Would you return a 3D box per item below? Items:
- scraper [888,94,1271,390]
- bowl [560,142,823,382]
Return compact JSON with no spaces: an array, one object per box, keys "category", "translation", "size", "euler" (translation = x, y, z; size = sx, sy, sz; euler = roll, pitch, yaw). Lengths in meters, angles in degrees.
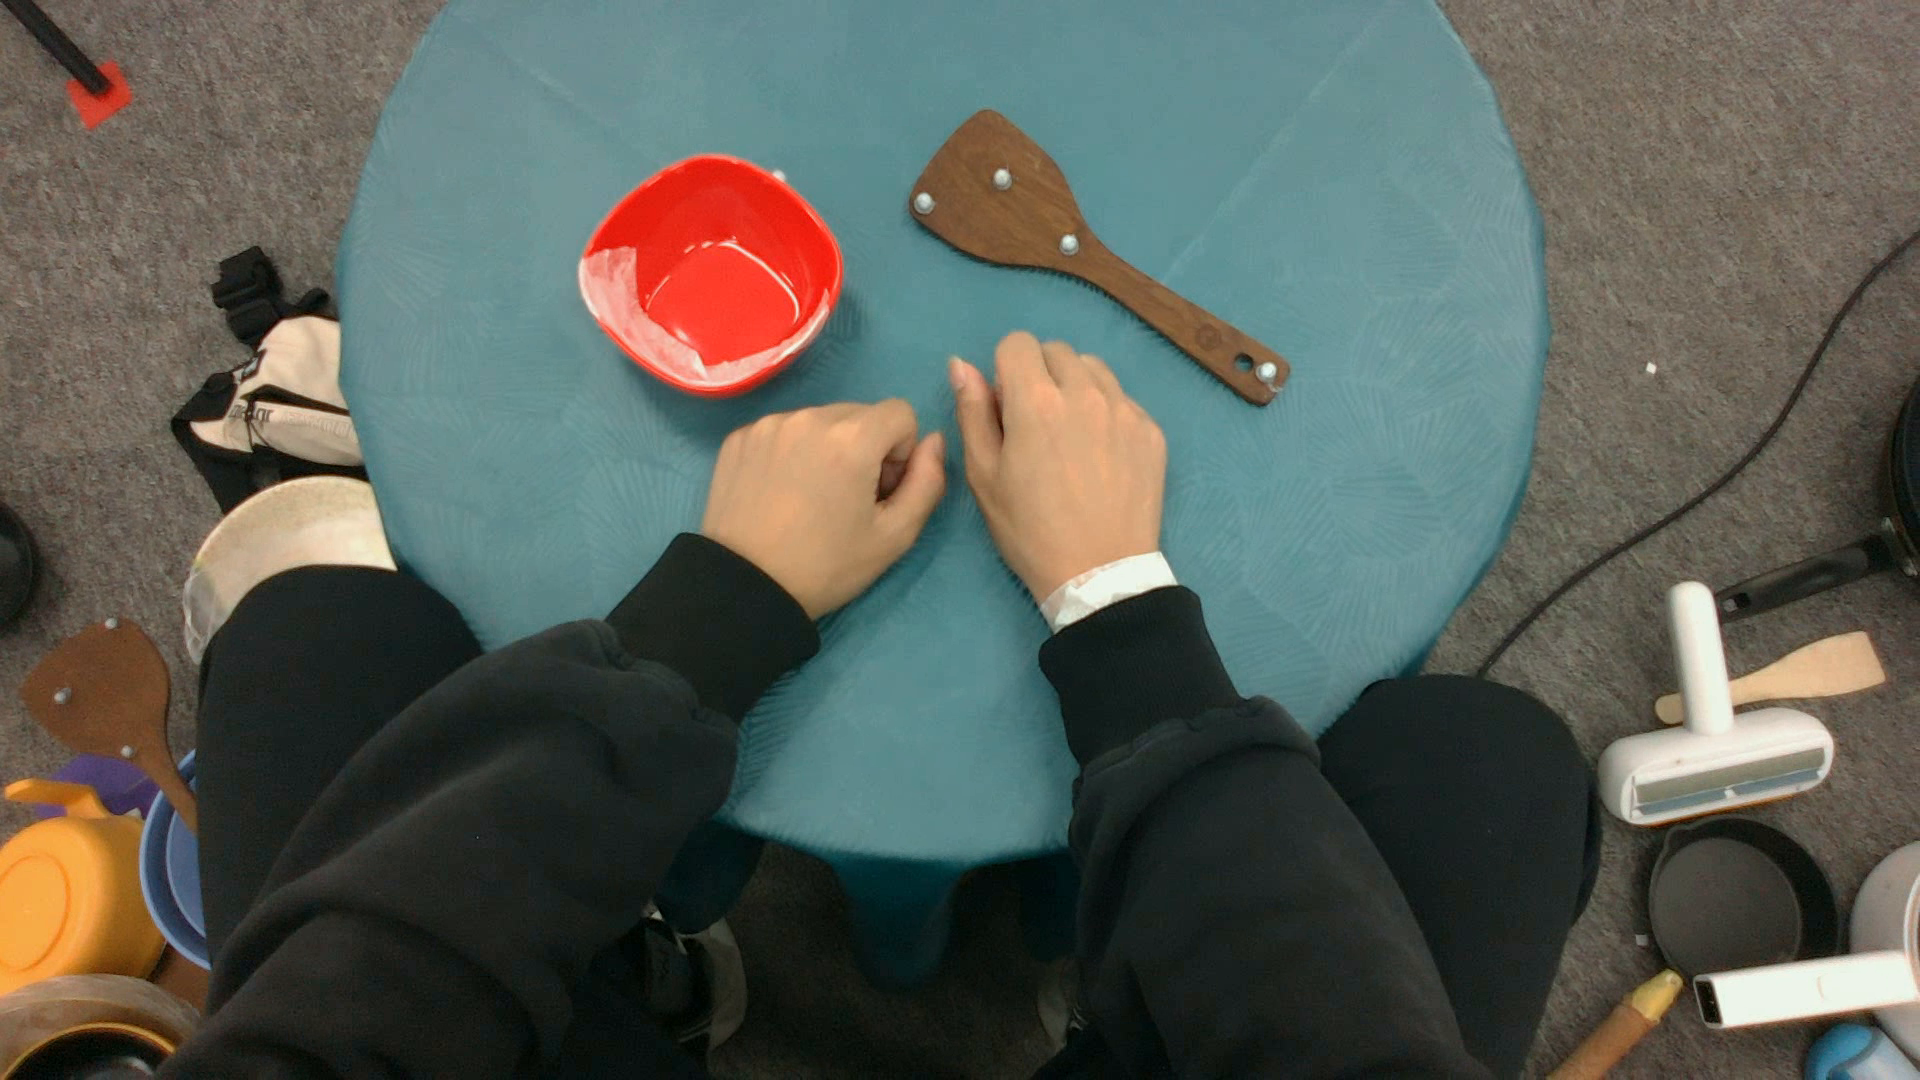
[{"category":"scraper","translation":[0.063,-0.142,0.688],"size":[0.211,0.011,0.076],"euler":[36,77,7]},{"category":"bowl","translation":[-0.124,-0.123,0.652],"size":[0.119,0.051,0.119],"euler":[1,73,-4]}]
